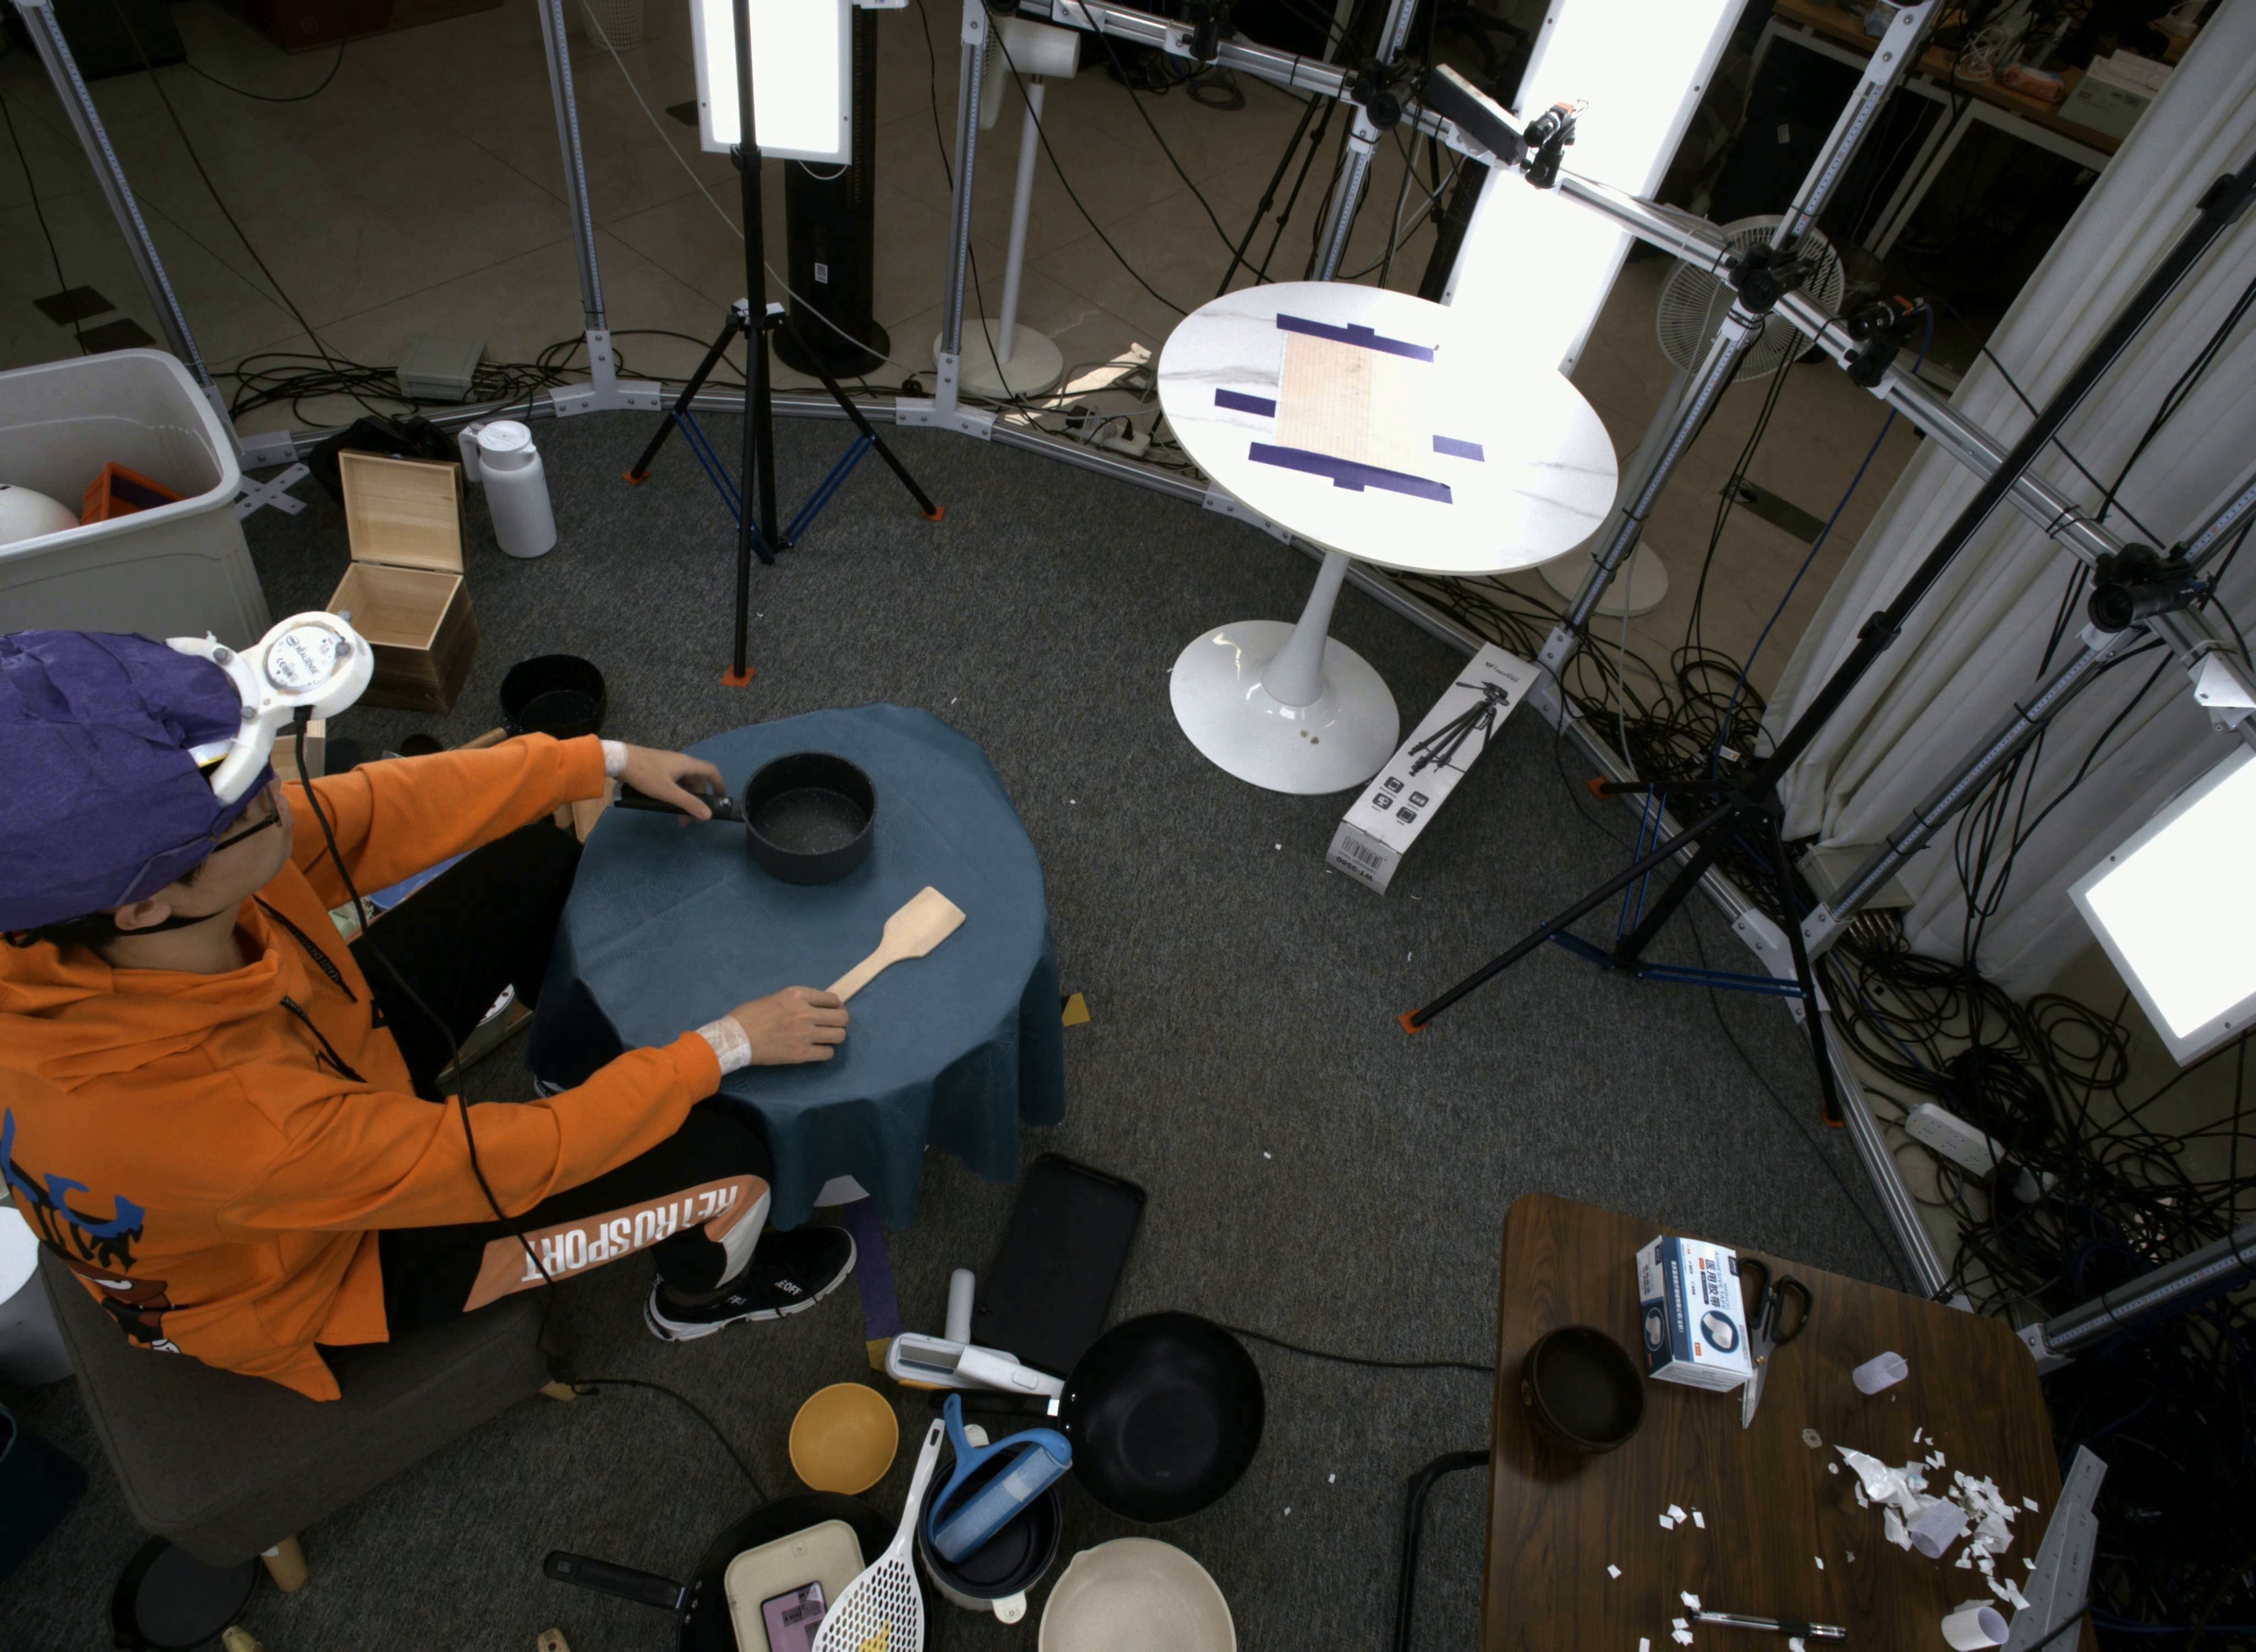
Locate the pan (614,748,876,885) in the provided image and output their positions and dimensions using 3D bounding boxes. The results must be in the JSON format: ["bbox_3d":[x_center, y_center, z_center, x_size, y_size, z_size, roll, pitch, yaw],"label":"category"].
[{"bbox_3d":[-0.490,-0.018,1.655,0.329,0.088,0.168,5,51,-13],"label":"pan"}]

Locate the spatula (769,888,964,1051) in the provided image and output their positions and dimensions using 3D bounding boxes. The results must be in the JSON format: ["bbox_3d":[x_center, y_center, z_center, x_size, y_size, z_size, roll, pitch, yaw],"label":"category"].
[{"bbox_3d":[-0.324,0.178,1.601,0.071,0.011,0.293,41,54,12],"label":"spatula"}]
